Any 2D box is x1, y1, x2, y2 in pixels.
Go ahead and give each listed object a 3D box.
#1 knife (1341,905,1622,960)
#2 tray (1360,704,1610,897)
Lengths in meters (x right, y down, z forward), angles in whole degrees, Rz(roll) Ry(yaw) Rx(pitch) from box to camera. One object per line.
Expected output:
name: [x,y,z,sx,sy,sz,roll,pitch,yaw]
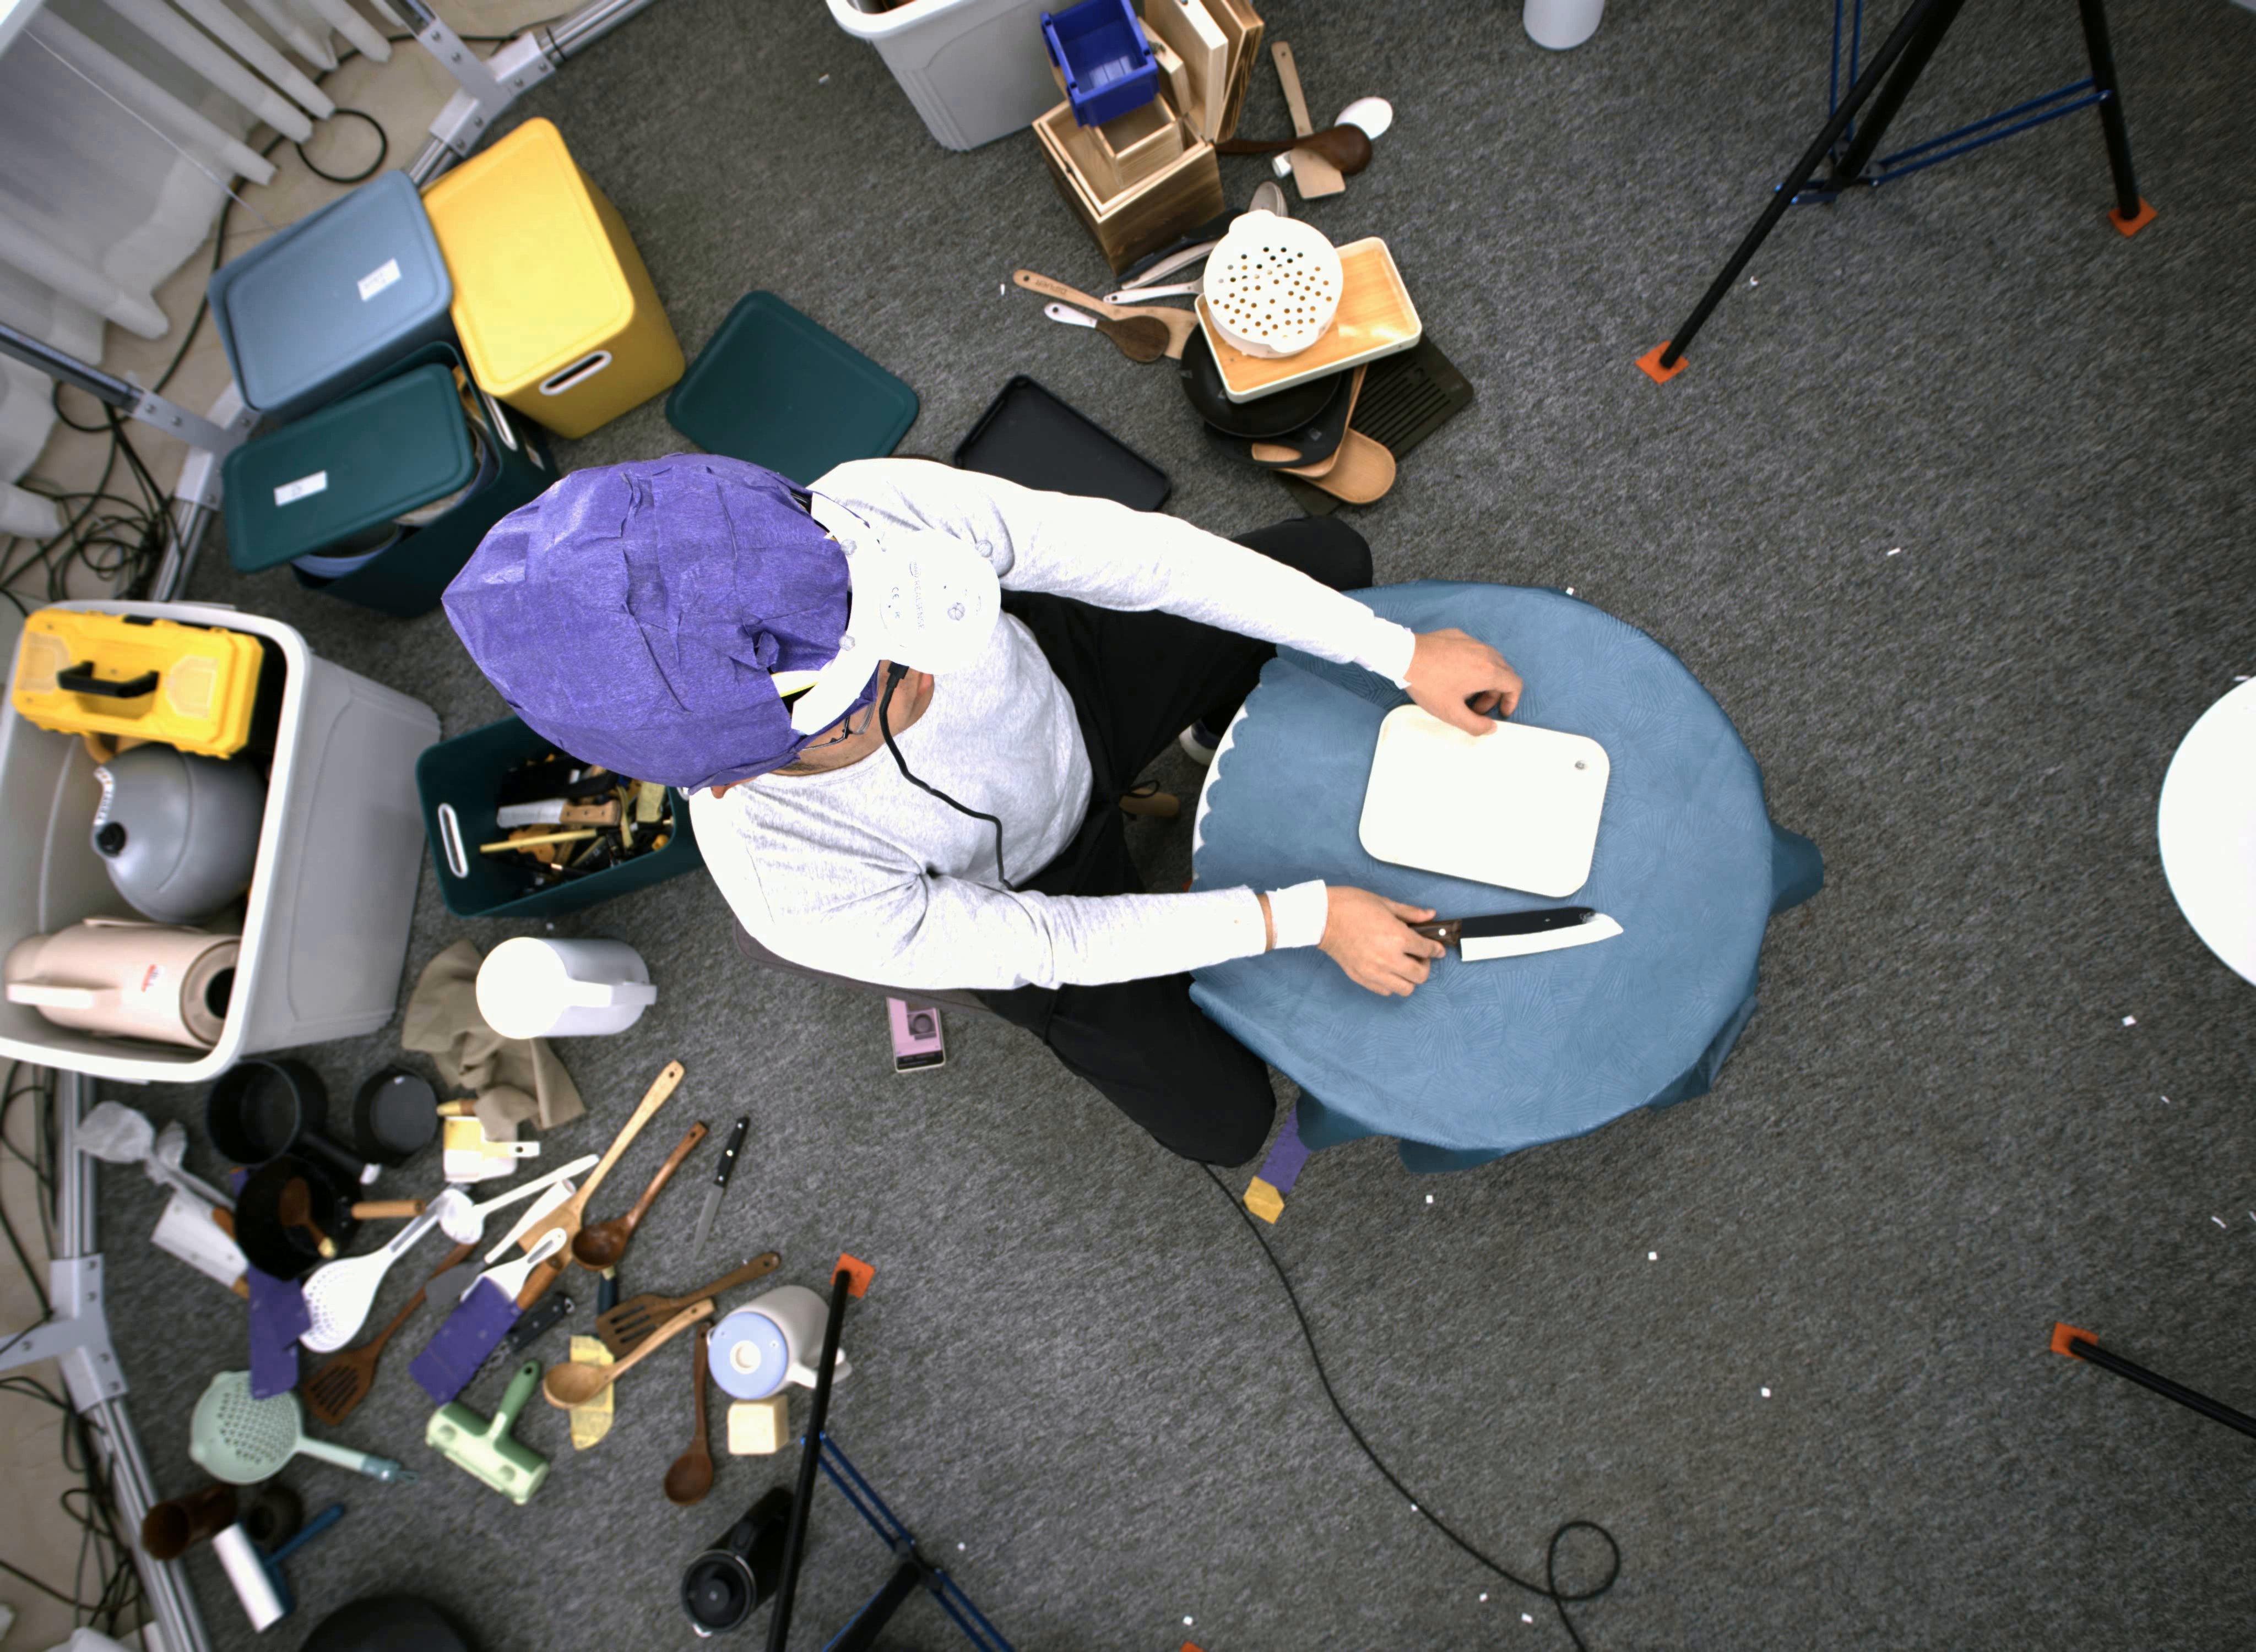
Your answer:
knife: [0.366,0.112,1.428,0.290,0.020,0.050,-5,88,6]
tray: [0.372,-0.029,1.438,0.240,0.017,0.171,12,89,11]
